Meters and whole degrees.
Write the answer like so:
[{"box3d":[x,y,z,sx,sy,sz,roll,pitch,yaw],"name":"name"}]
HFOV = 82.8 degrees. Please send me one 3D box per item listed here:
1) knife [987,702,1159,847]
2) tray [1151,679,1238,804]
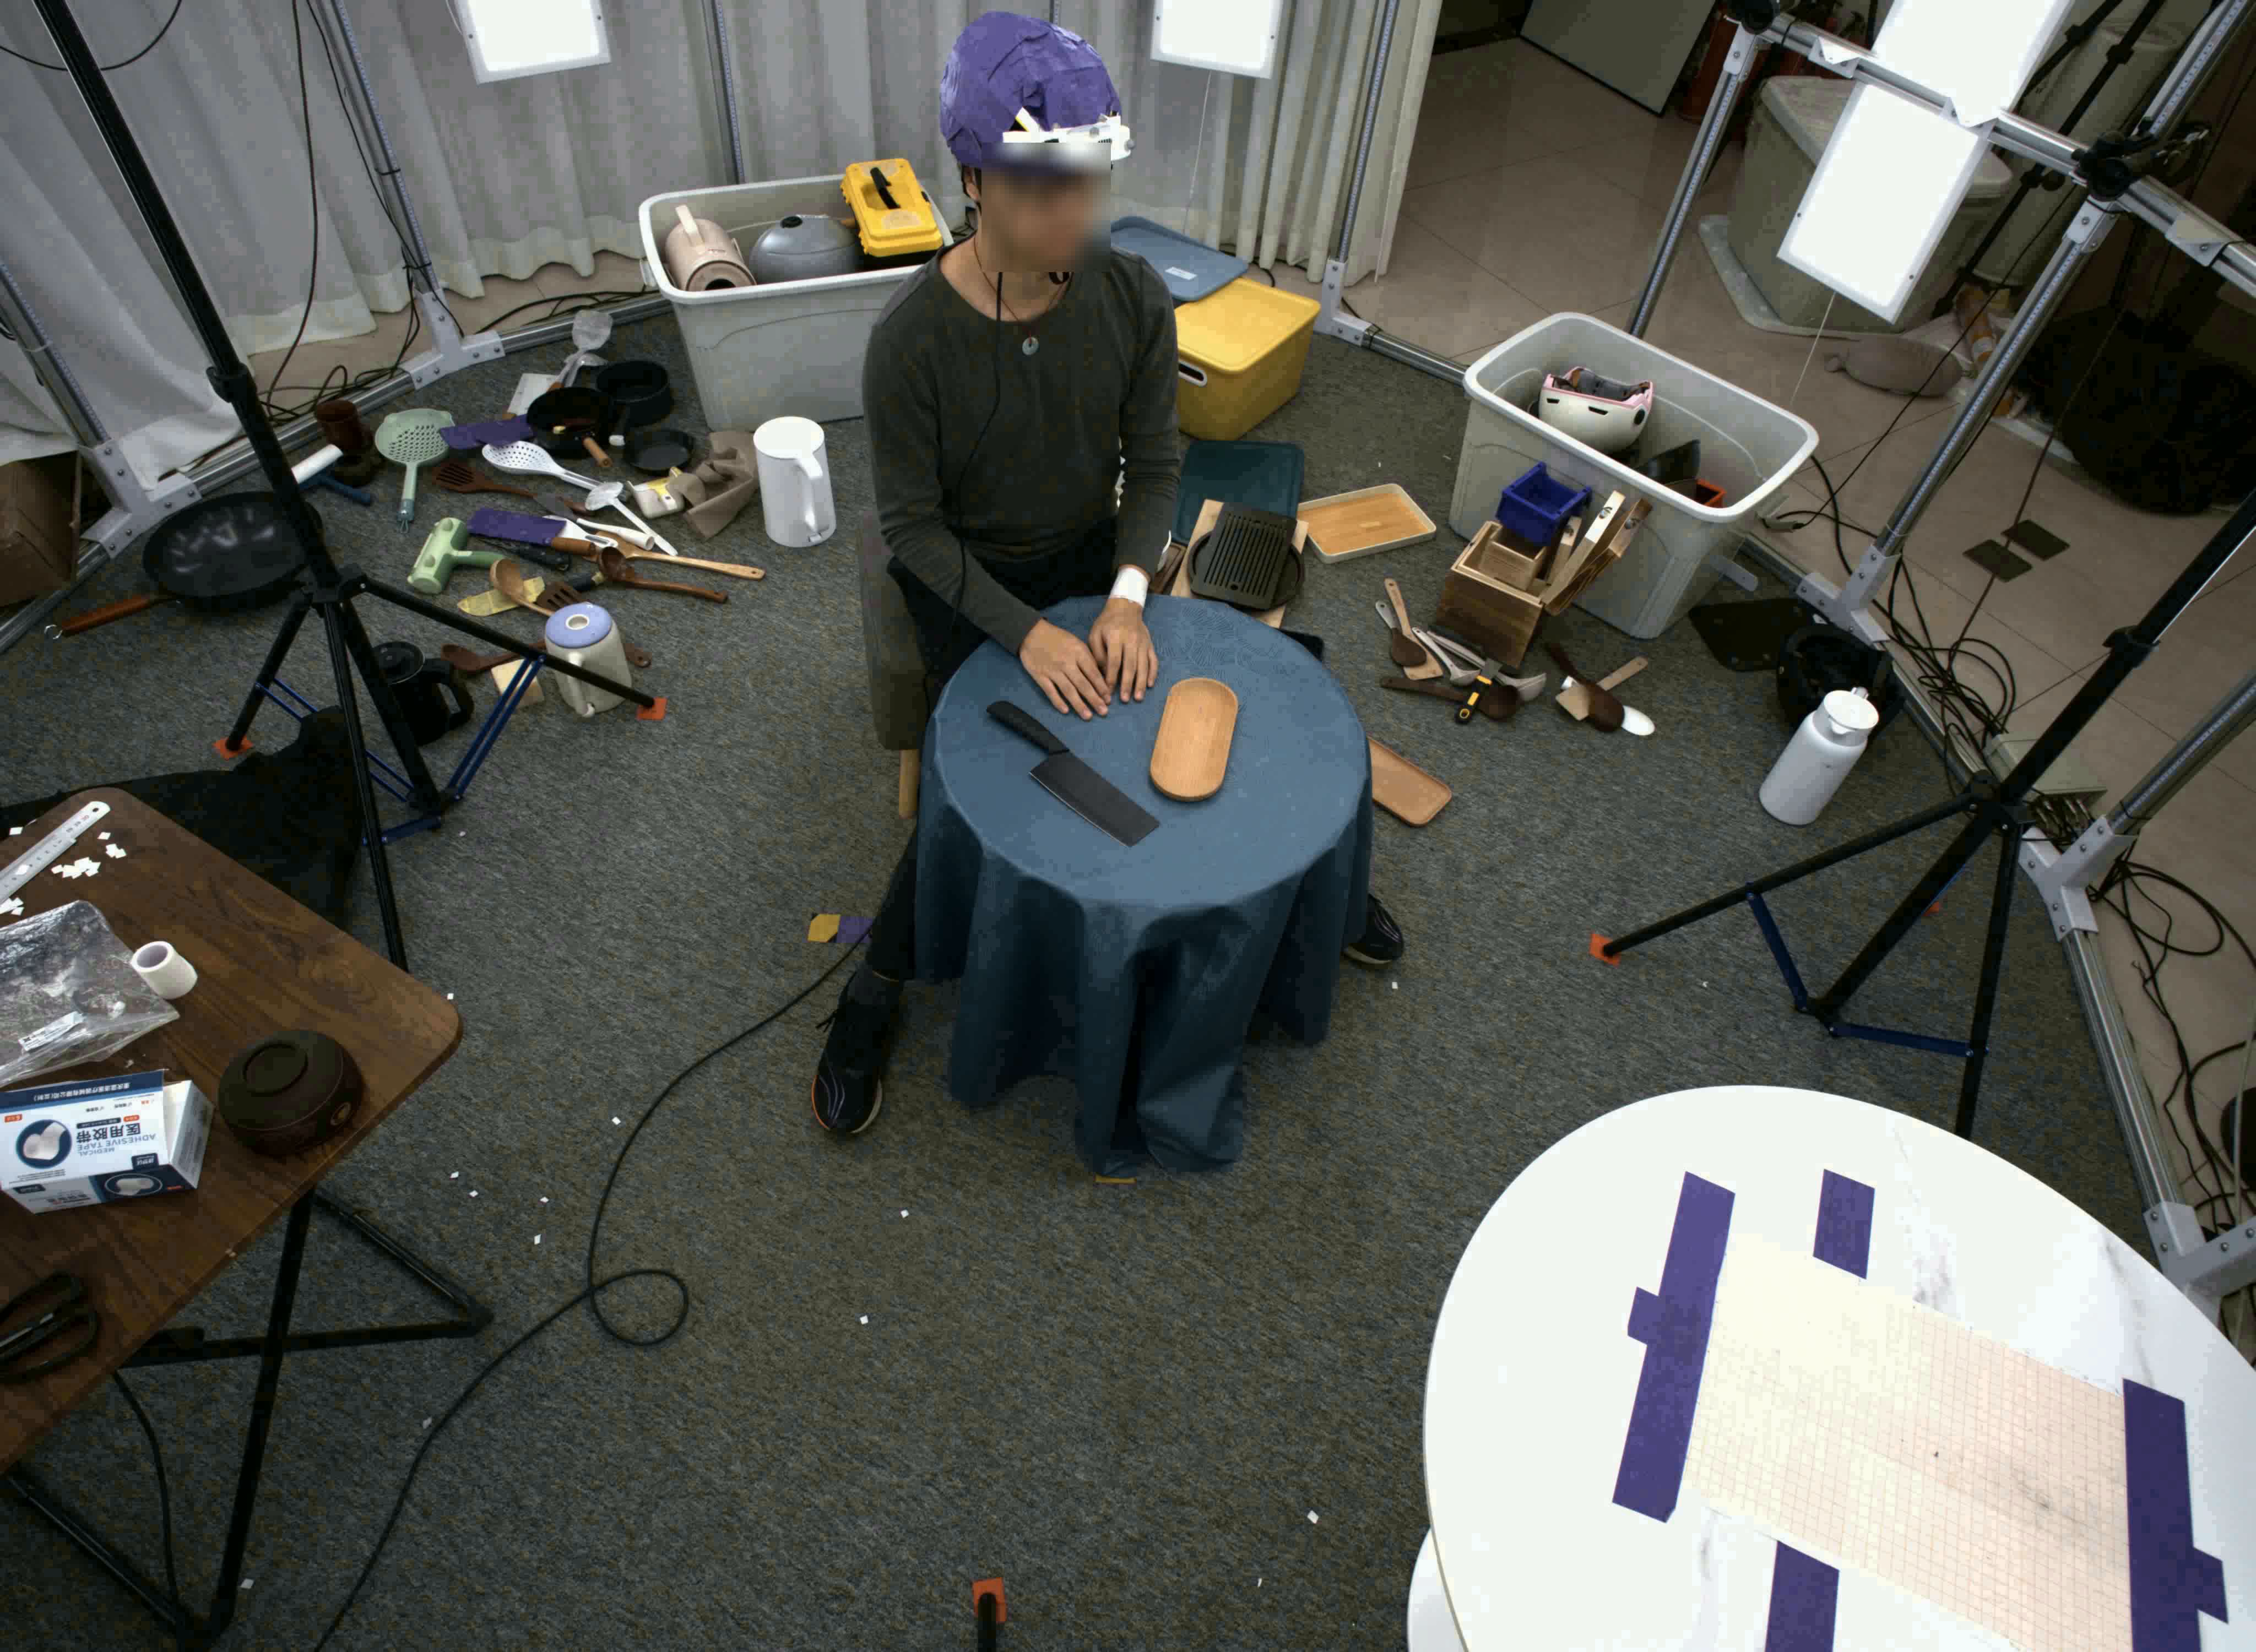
[{"box3d":[-0.085,-0.075,1.718,0.081,0.020,0.307,-33,60,-27],"name":"knife"},{"box3d":[0.092,-0.119,1.766,0.102,0.020,0.236,9,50,6],"name":"tray"}]
